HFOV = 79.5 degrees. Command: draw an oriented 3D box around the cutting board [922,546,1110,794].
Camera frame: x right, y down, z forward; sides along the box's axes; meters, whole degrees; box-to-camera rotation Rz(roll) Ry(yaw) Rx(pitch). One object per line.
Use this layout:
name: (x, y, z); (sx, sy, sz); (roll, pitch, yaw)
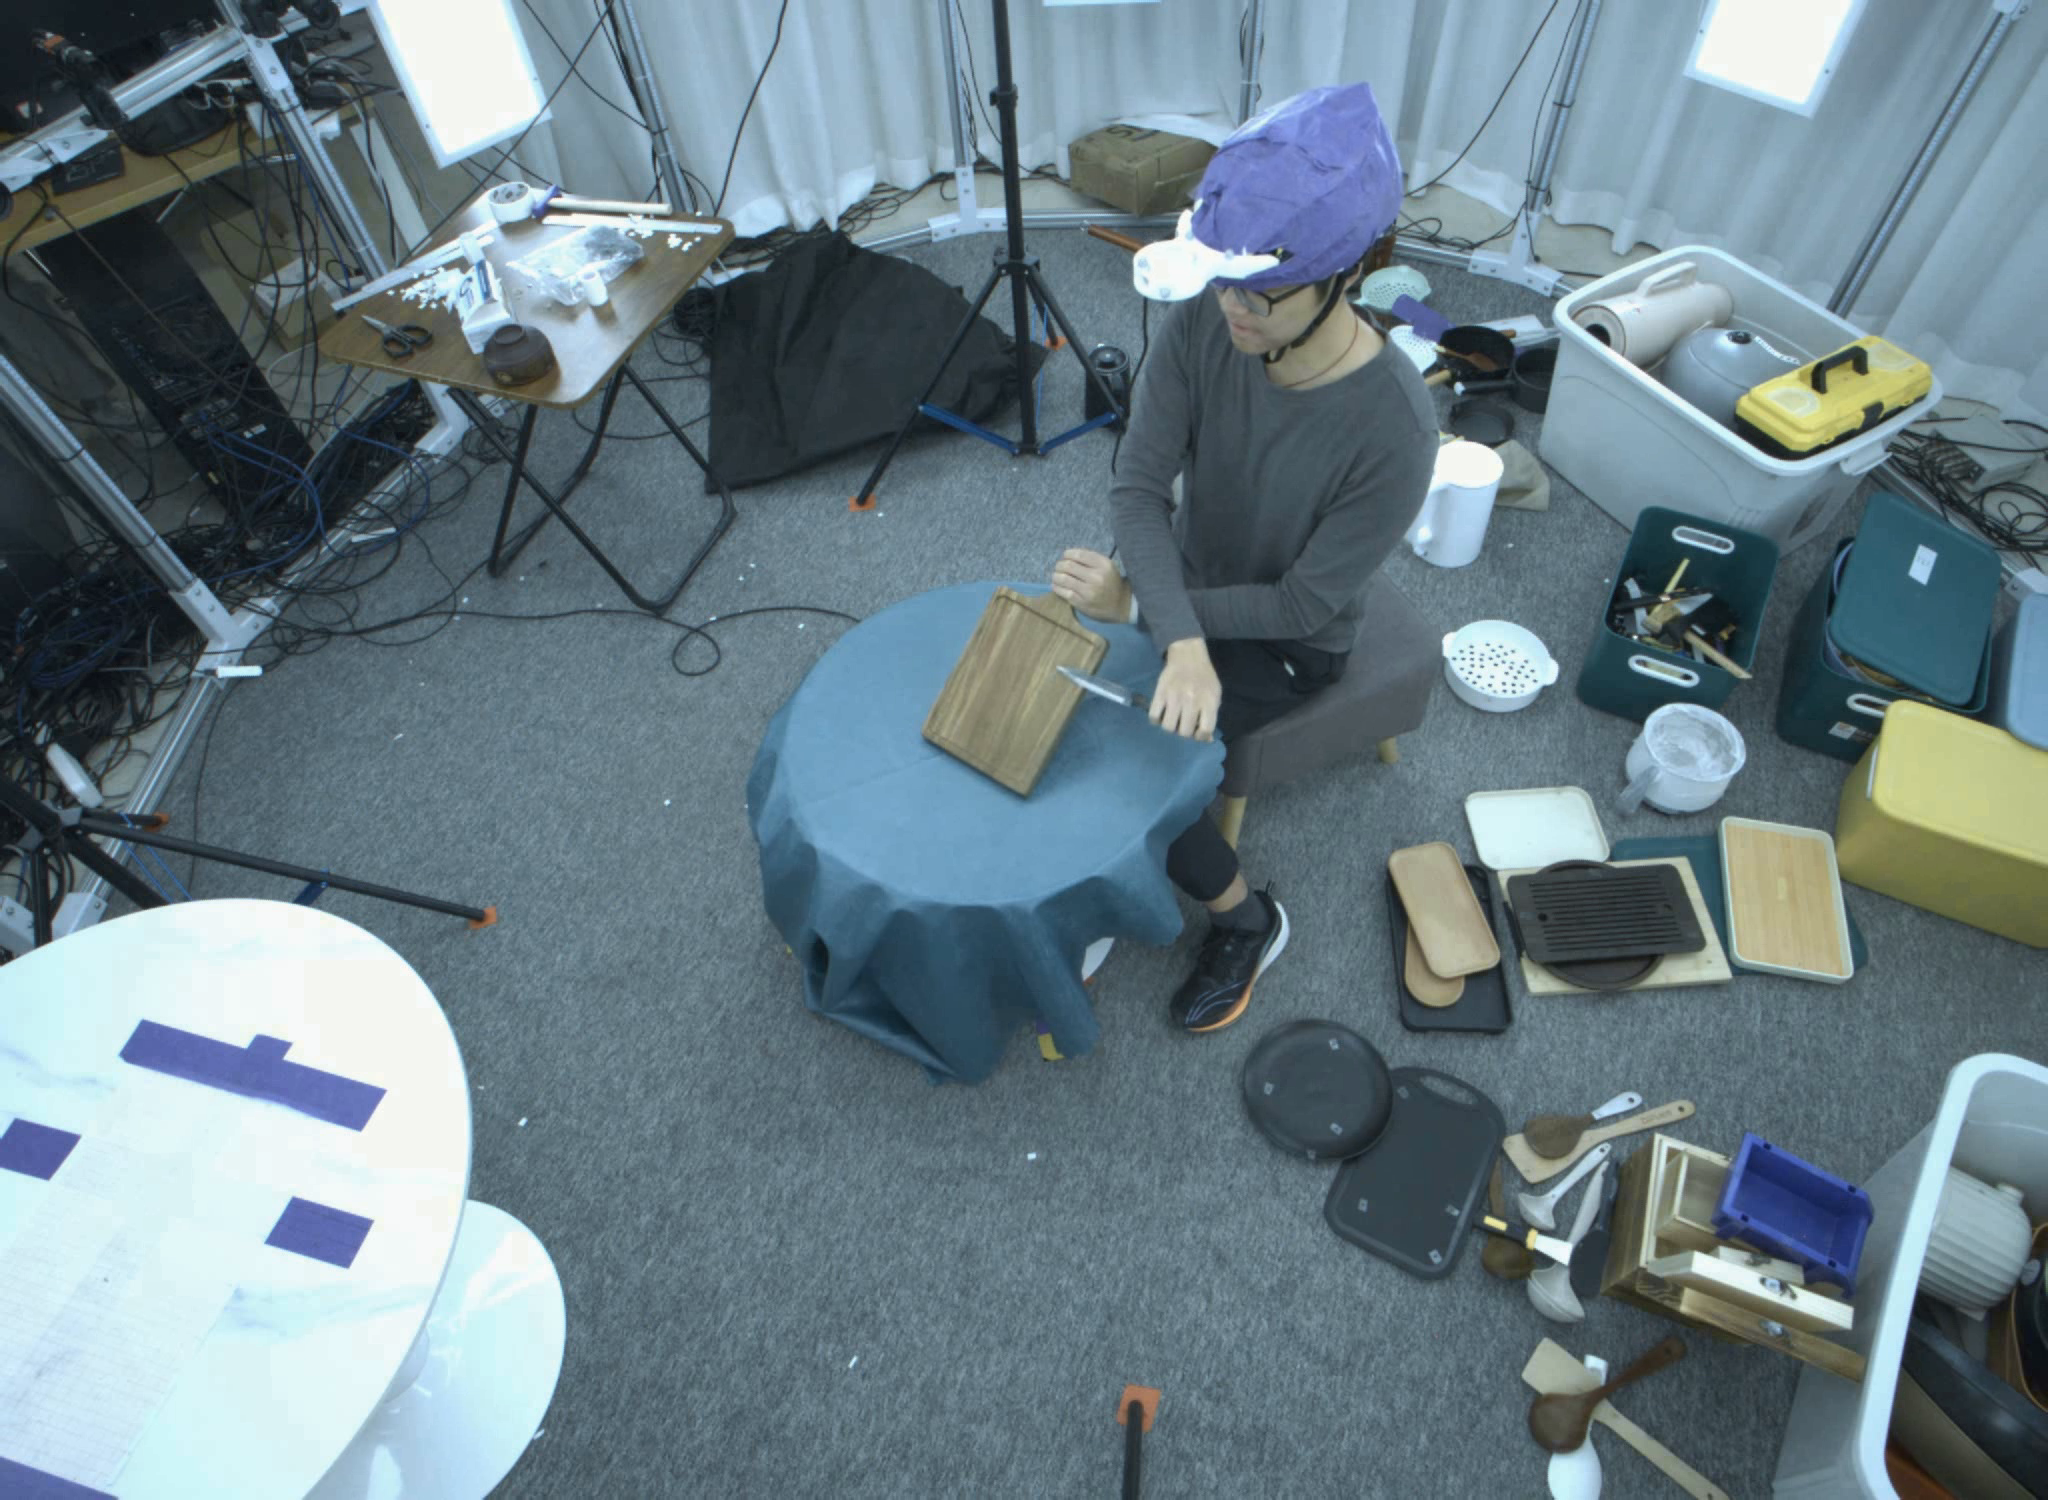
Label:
cutting board: (0.009, -0.133, 1.763); (0.198, 0.023, 0.352); (30, 93, 21)

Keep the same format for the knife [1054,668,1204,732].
knife: (0.143, -0.075, 1.693); (0.234, 0.016, 0.024); (23, 93, 23)
